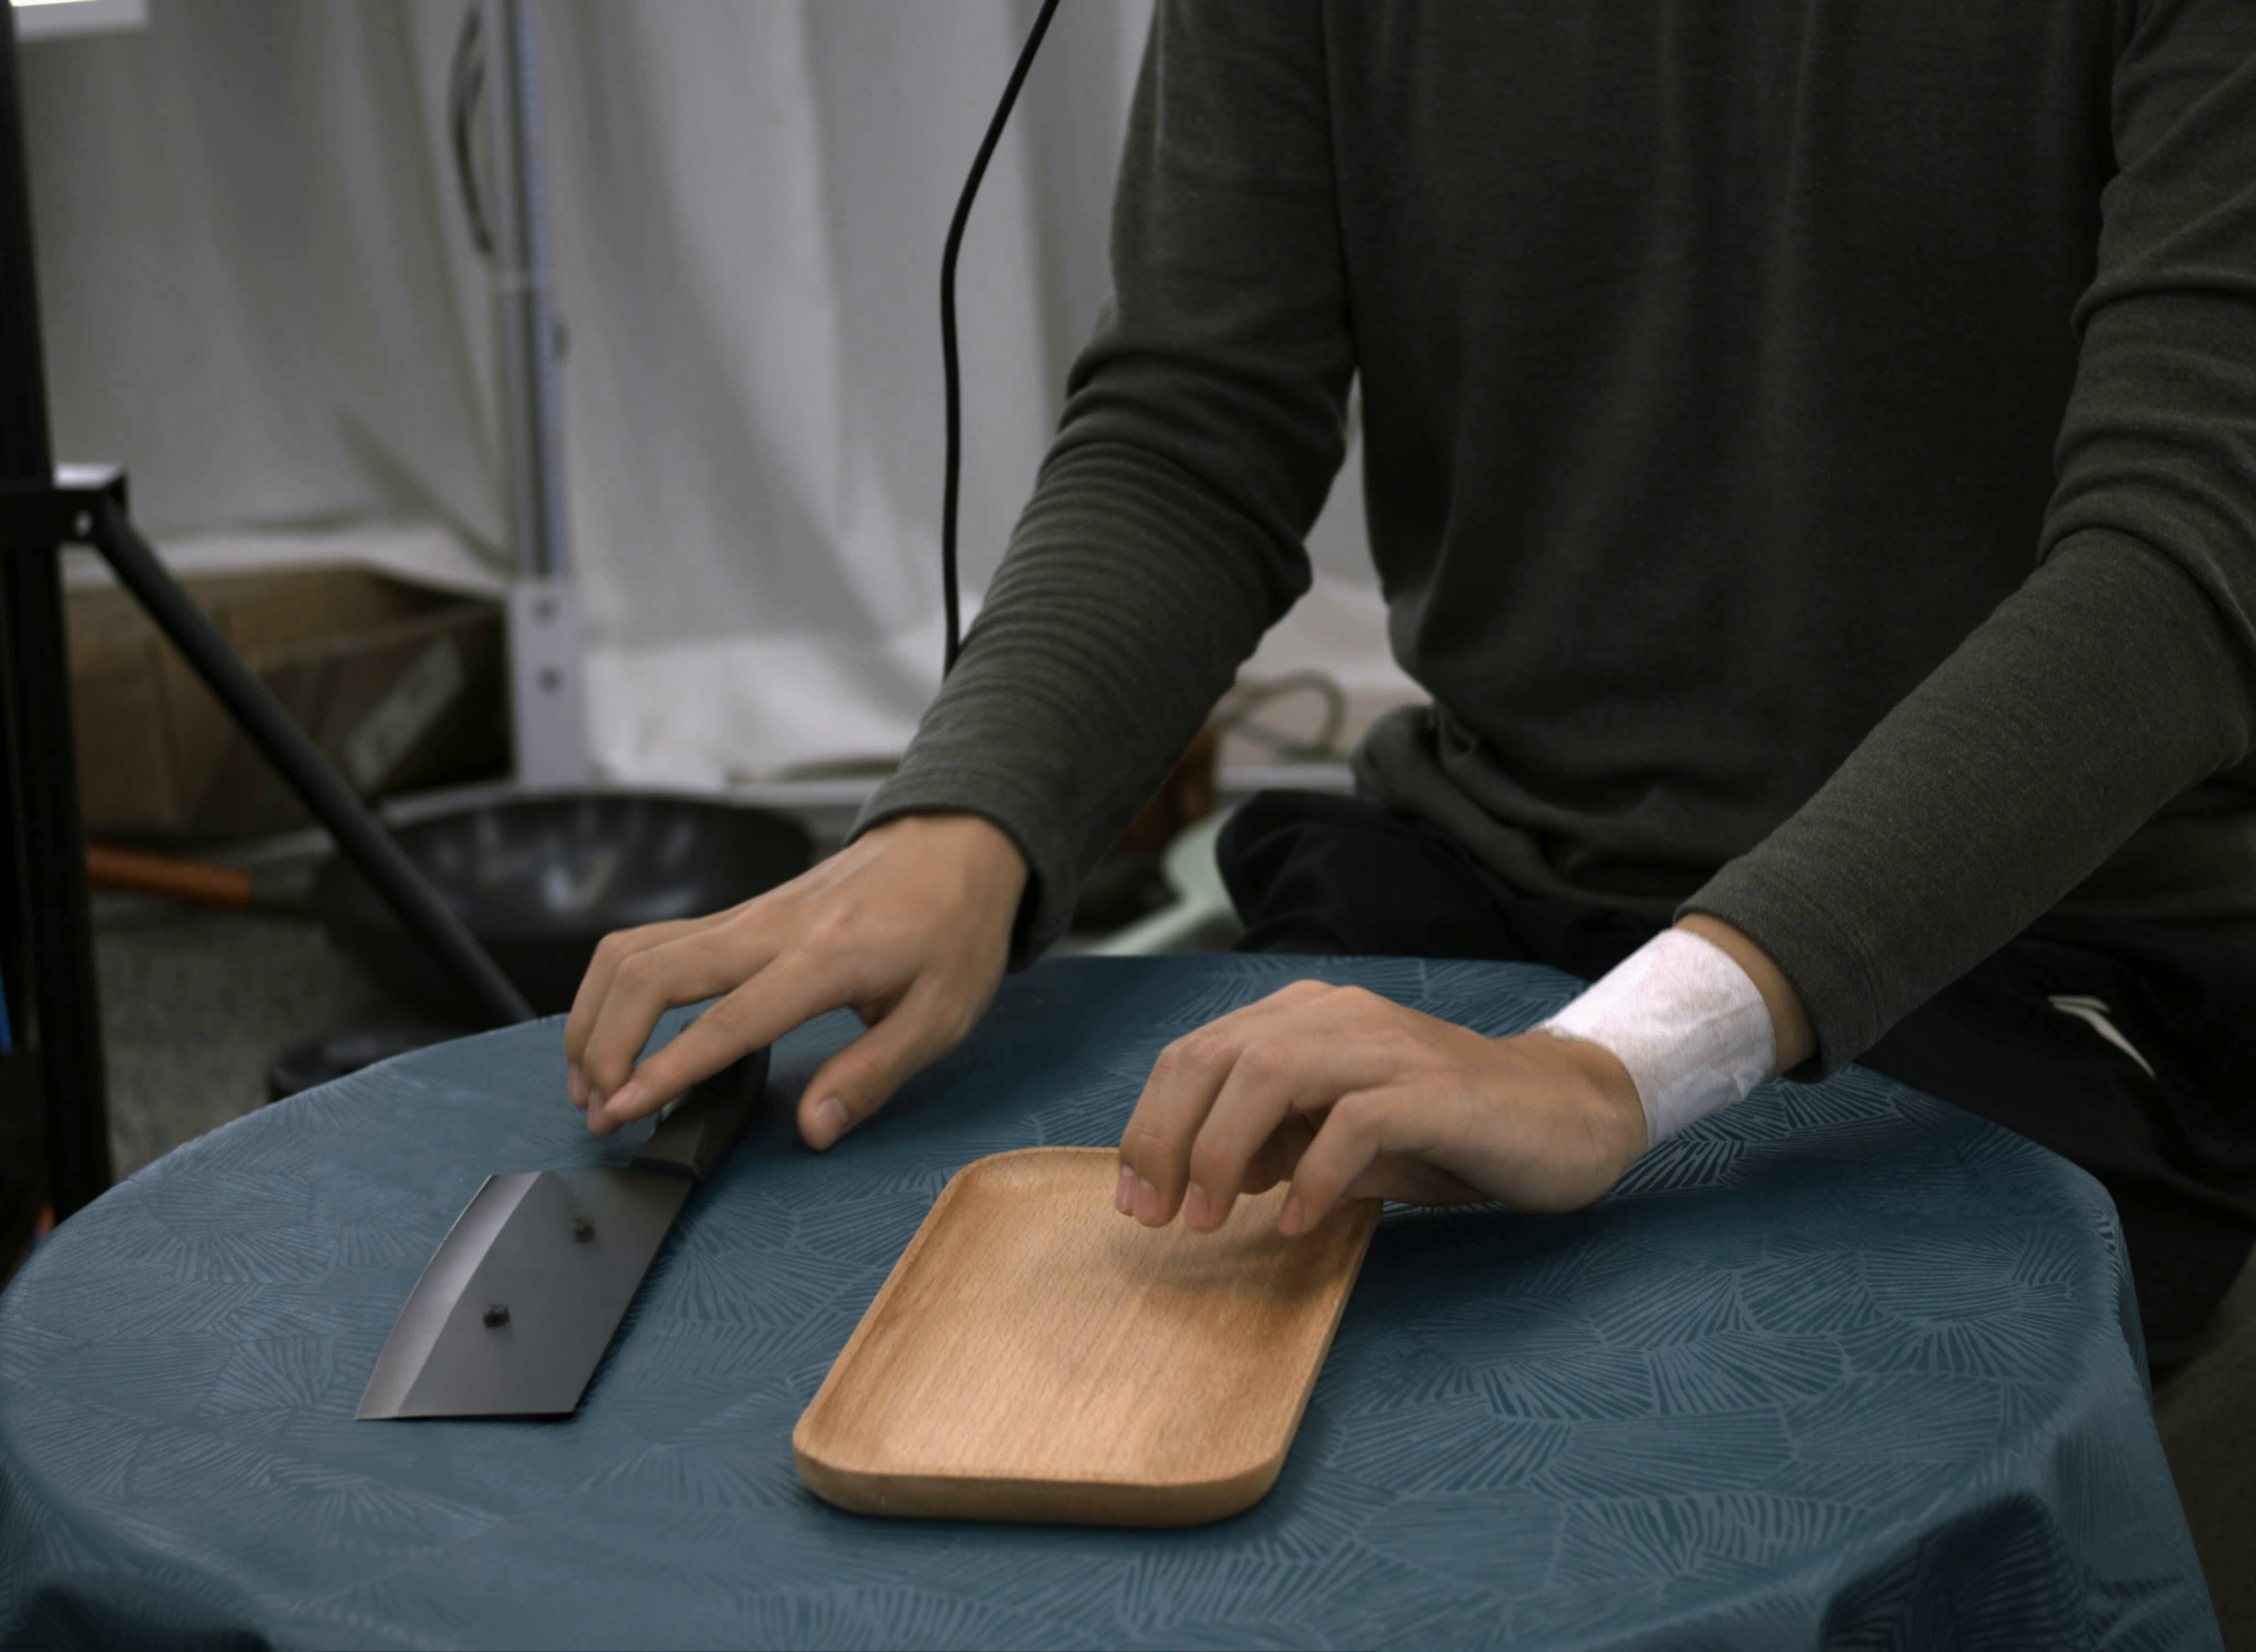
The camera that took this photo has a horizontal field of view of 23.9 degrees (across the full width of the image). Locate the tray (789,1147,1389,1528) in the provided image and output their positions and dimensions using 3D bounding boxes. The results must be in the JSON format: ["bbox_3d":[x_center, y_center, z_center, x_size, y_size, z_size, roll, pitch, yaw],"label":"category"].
[{"bbox_3d":[-0.006,0.135,1.438,0.131,0.023,0.249,3,15,11],"label":"tray"}]

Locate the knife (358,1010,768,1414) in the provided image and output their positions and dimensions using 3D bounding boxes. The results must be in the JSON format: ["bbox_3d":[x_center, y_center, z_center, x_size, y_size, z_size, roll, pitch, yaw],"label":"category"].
[{"bbox_3d":[-0.157,0.111,1.552,0.081,0.021,0.301,-2,17,12],"label":"knife"}]
